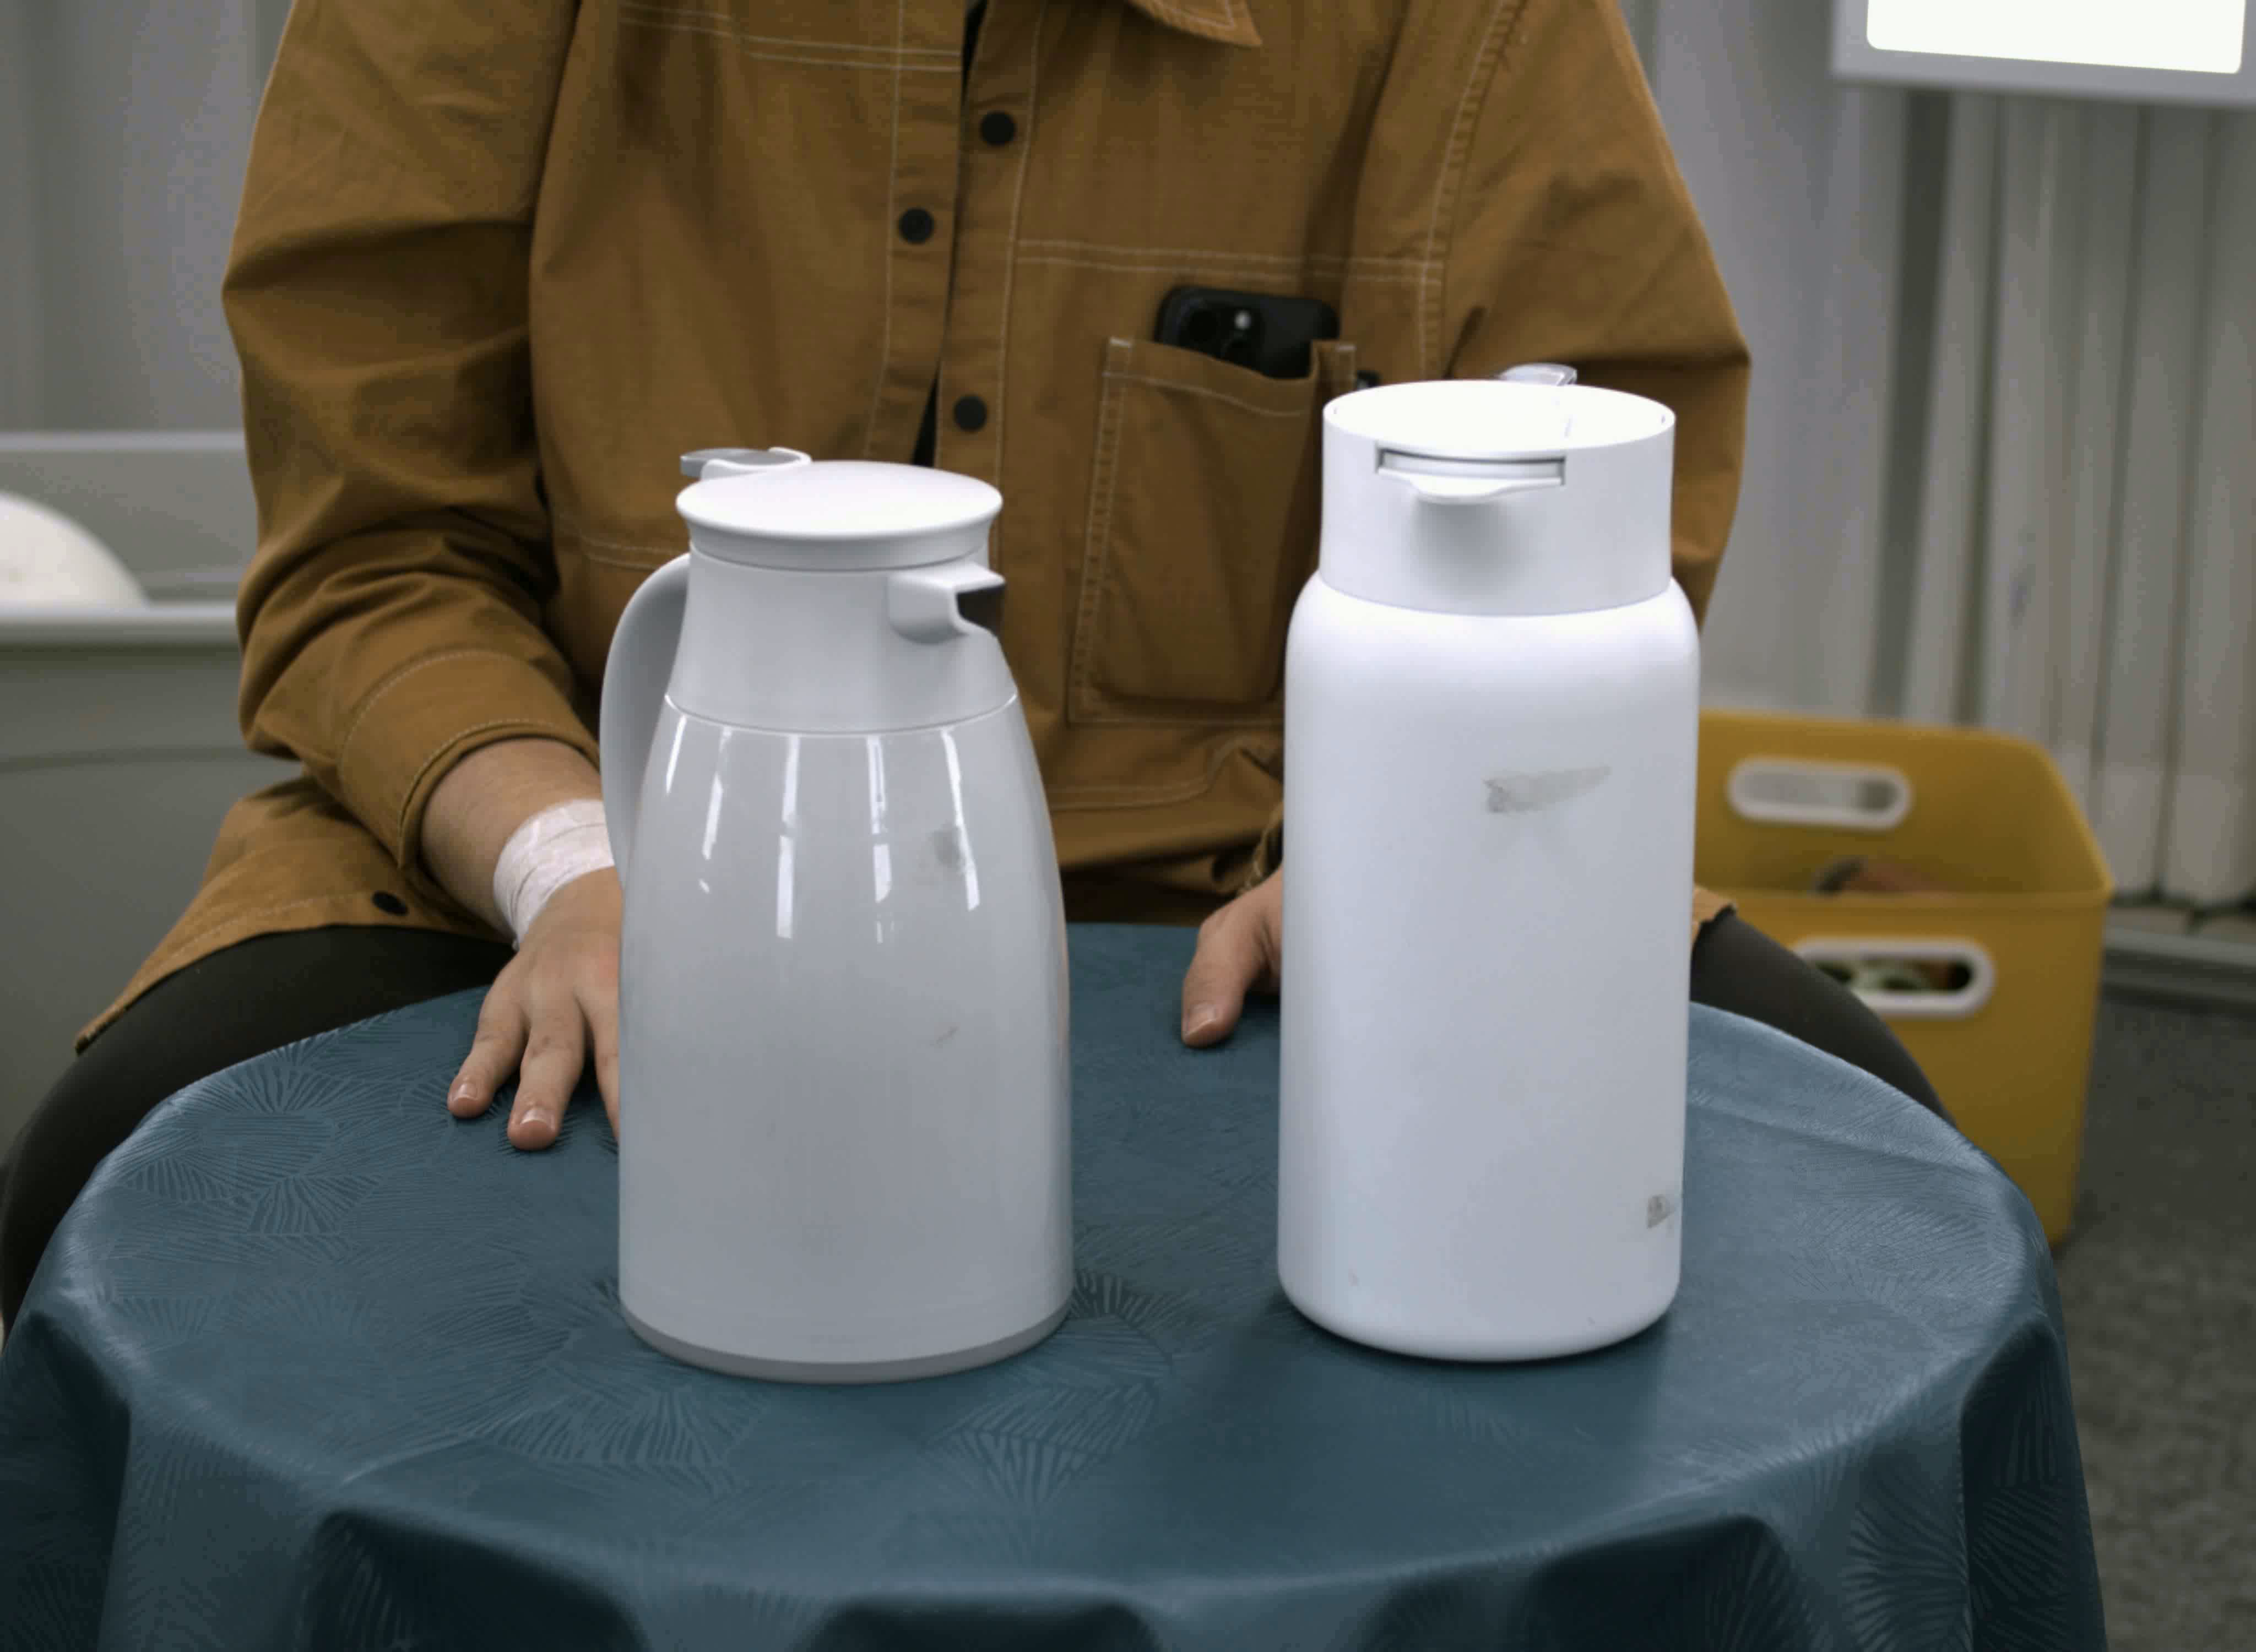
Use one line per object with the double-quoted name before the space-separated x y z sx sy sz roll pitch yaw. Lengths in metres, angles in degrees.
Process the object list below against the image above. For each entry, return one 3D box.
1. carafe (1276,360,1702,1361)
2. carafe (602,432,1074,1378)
"carafe" 0.105 0.005 1.510 0.123 0.271 0.172 2 16 13
"carafe" -0.094 0.014 1.503 0.133 0.250 0.165 -13 20 -40
